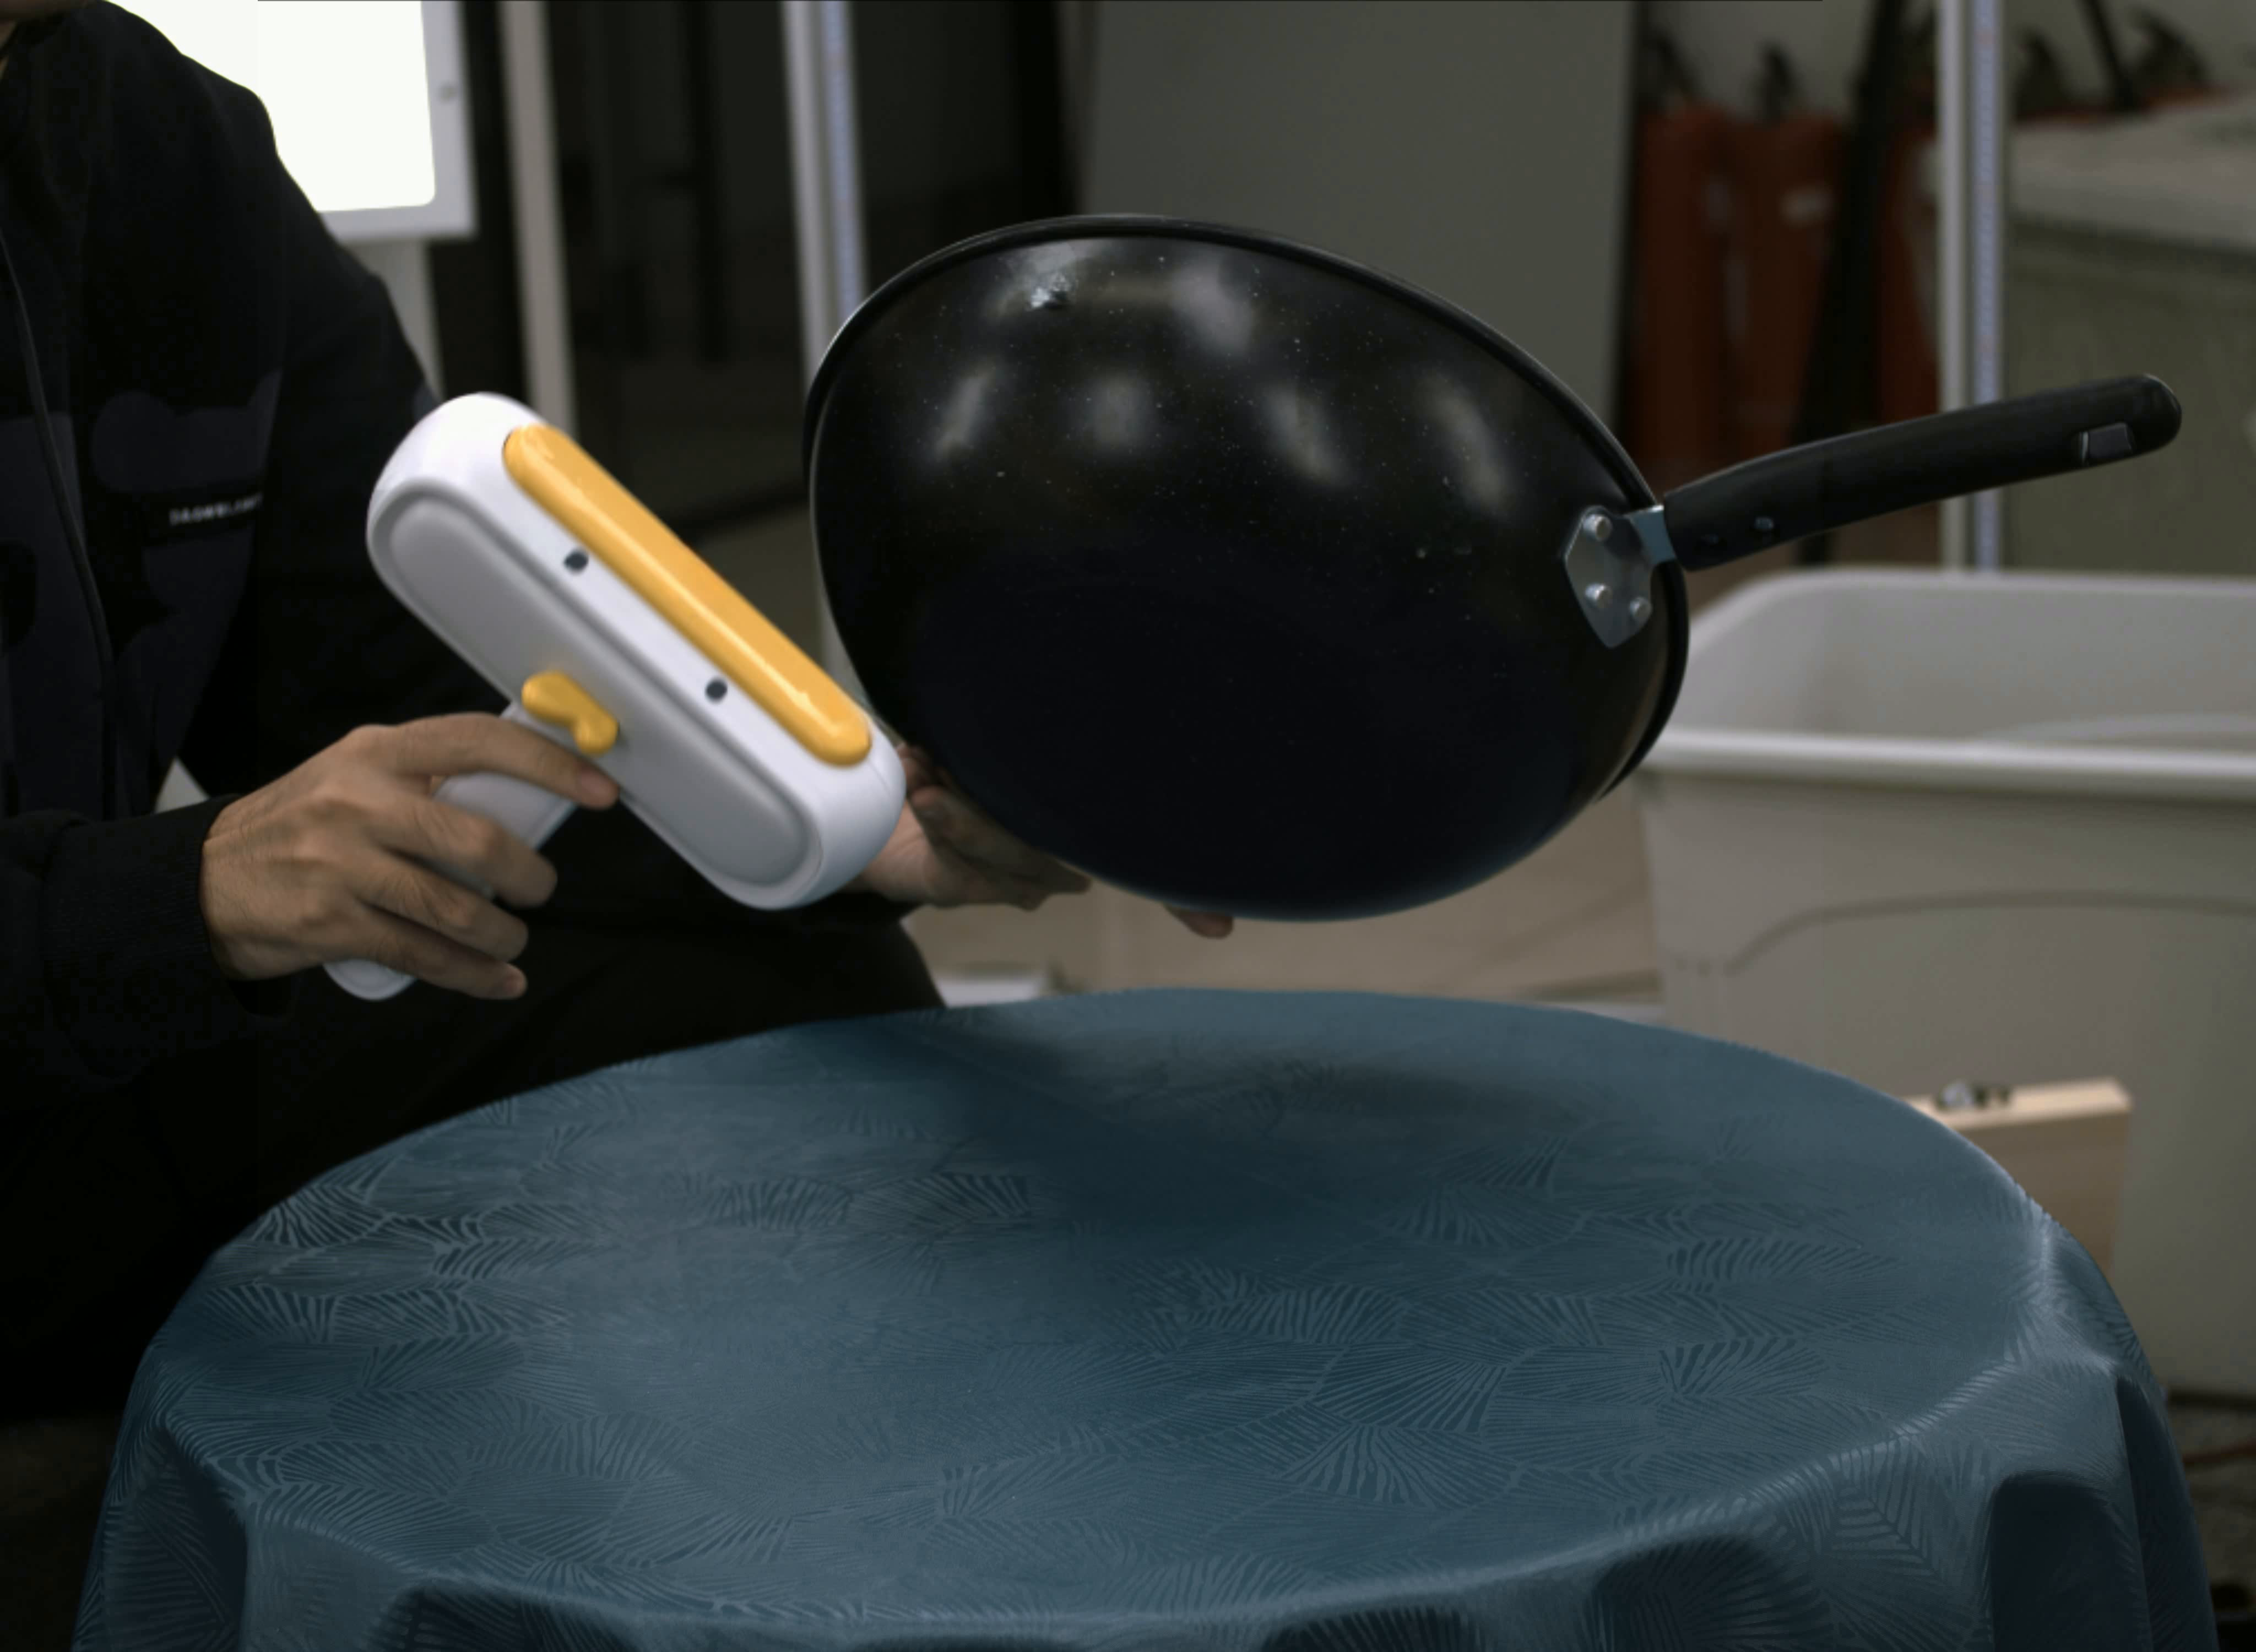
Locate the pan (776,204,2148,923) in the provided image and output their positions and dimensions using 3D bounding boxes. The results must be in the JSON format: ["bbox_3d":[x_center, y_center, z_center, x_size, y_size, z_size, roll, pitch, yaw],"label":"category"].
[{"bbox_3d":[0.094,-0.078,1.741,0.478,0.308,0.112,-5,46,30],"label":"pan"}]

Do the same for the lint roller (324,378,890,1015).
[{"bbox_3d":[-0.189,-0.017,1.680,0.191,0.194,0.074,36,38,-4],"label":"lint roller"}]
